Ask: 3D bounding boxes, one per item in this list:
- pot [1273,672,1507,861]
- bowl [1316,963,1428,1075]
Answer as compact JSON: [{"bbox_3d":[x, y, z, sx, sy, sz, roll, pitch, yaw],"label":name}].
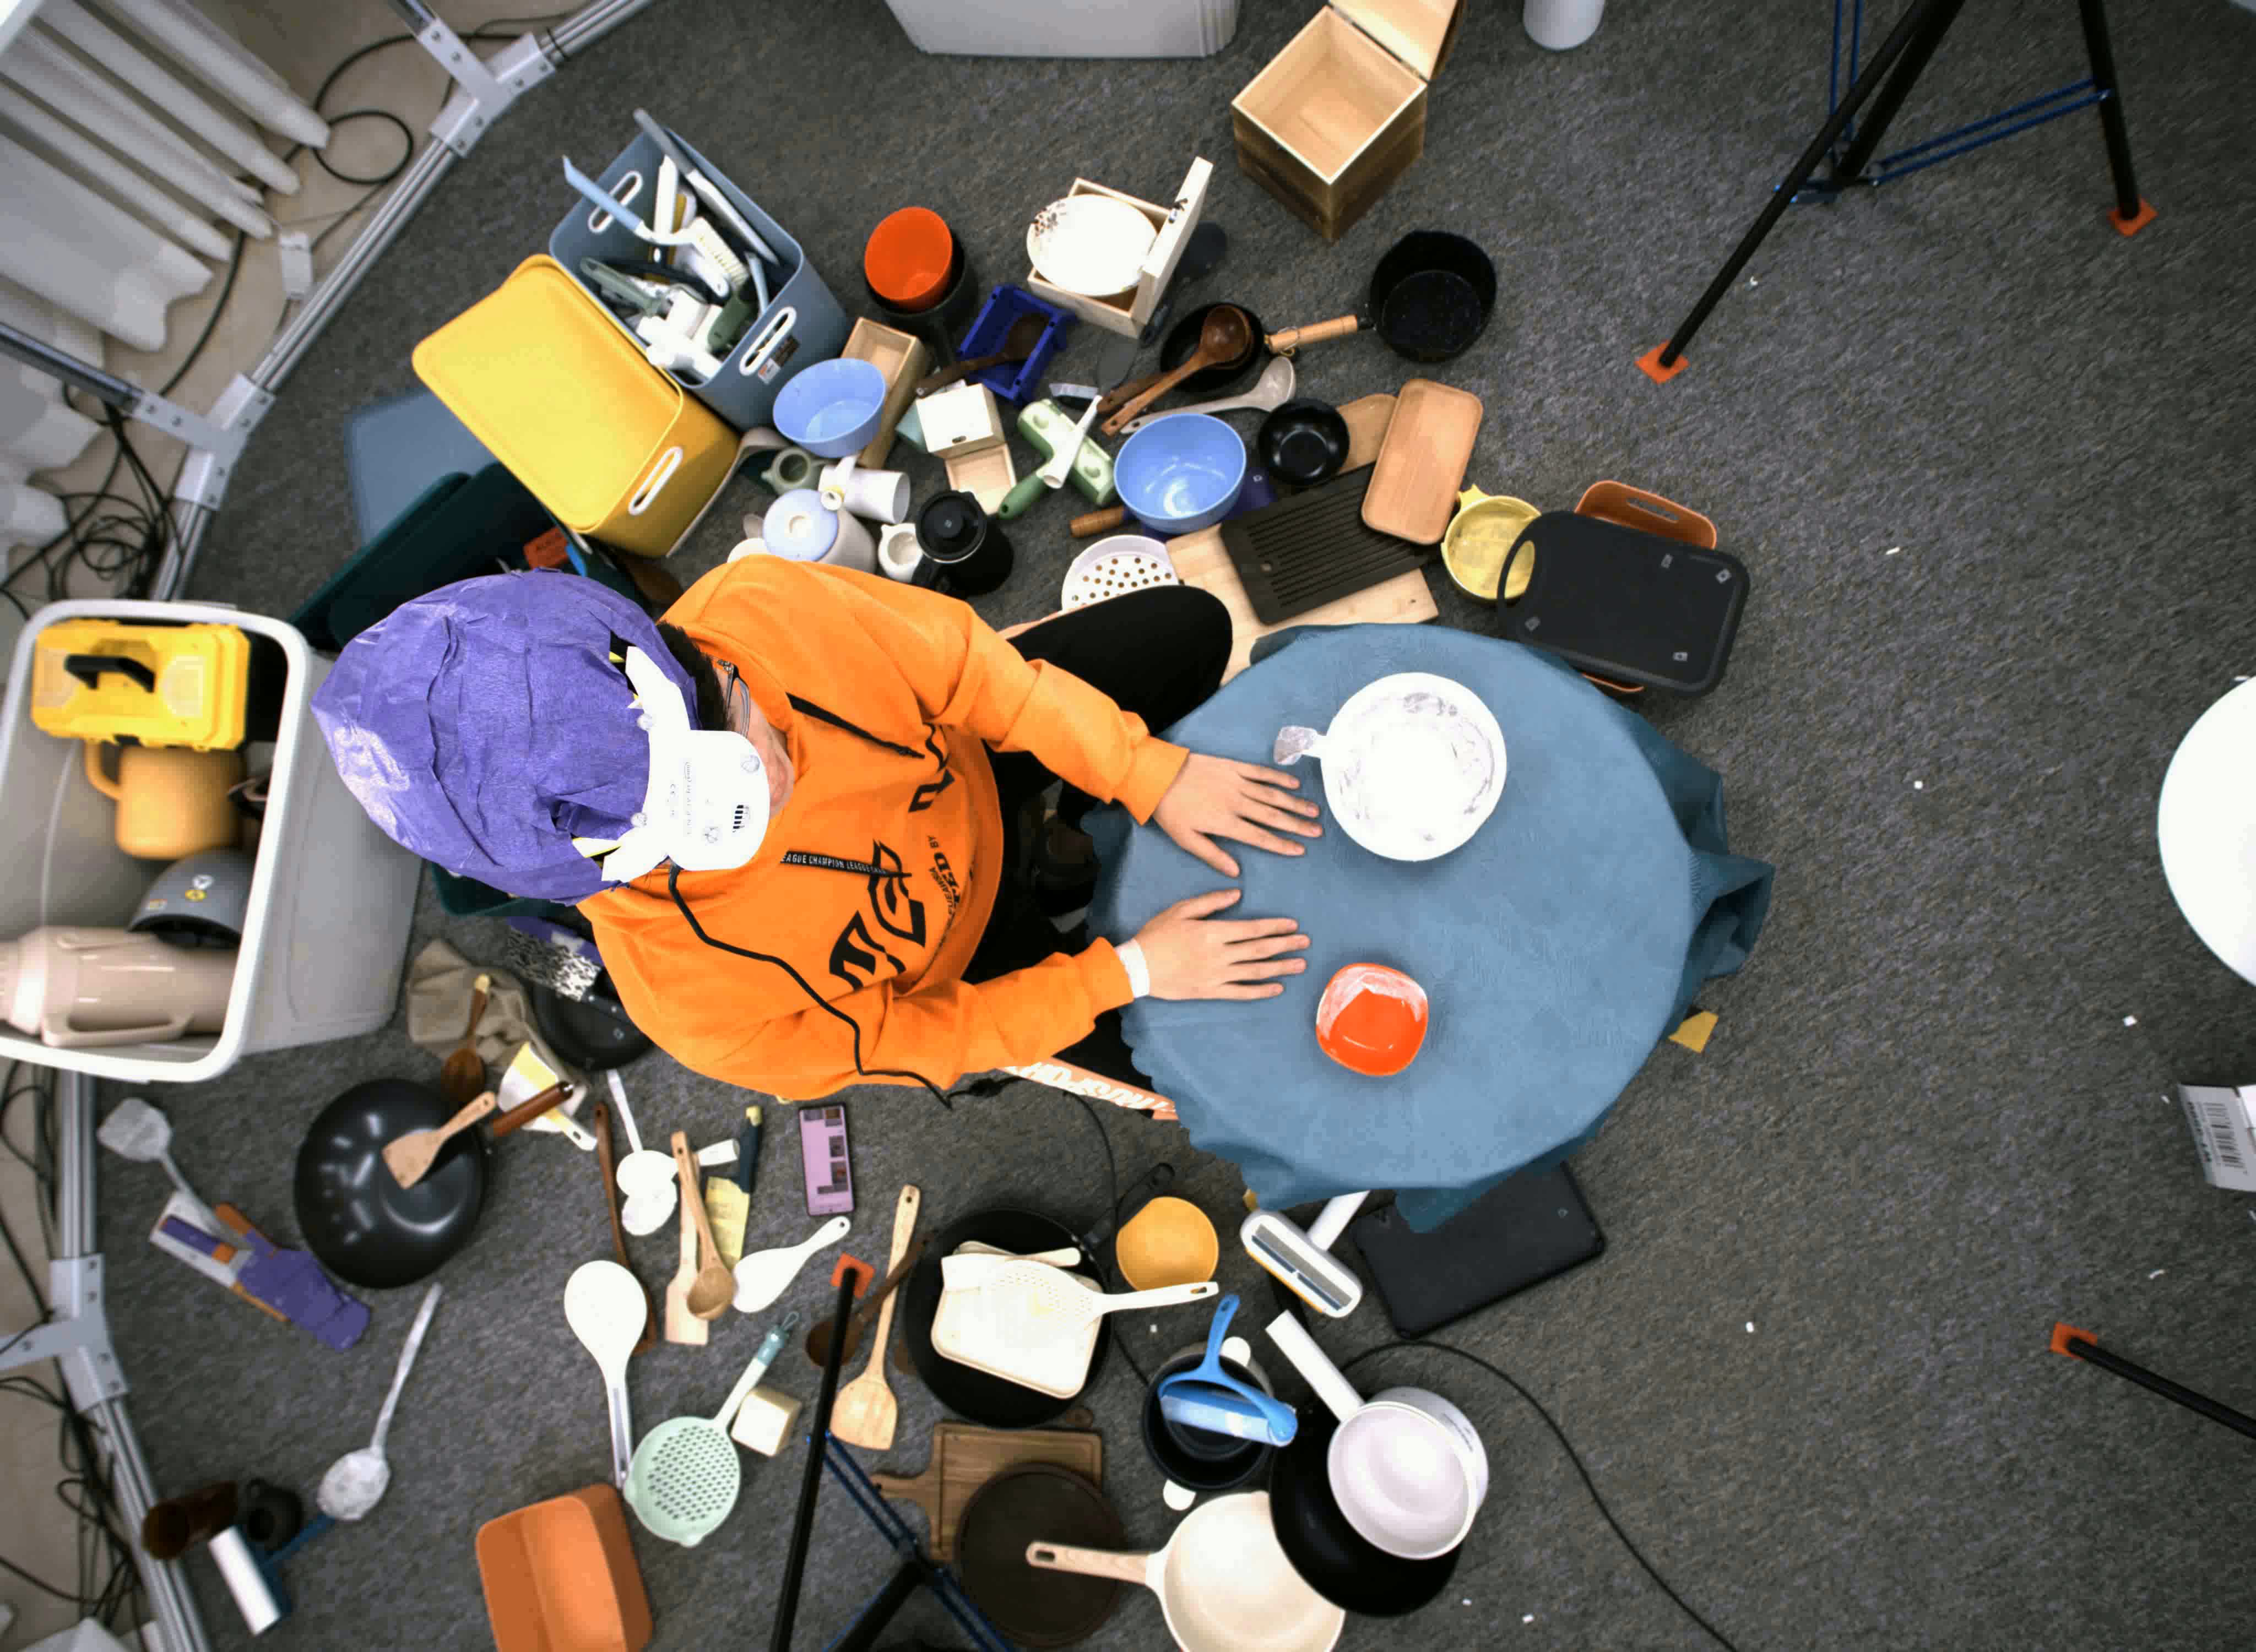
[{"bbox_3d":[0.260,-0.062,1.399,0.234,0.137,0.178,12,87,11],"label":"pot"},{"bbox_3d":[0.251,0.197,1.430,0.119,0.051,0.118,-1,88,9],"label":"bowl"}]
